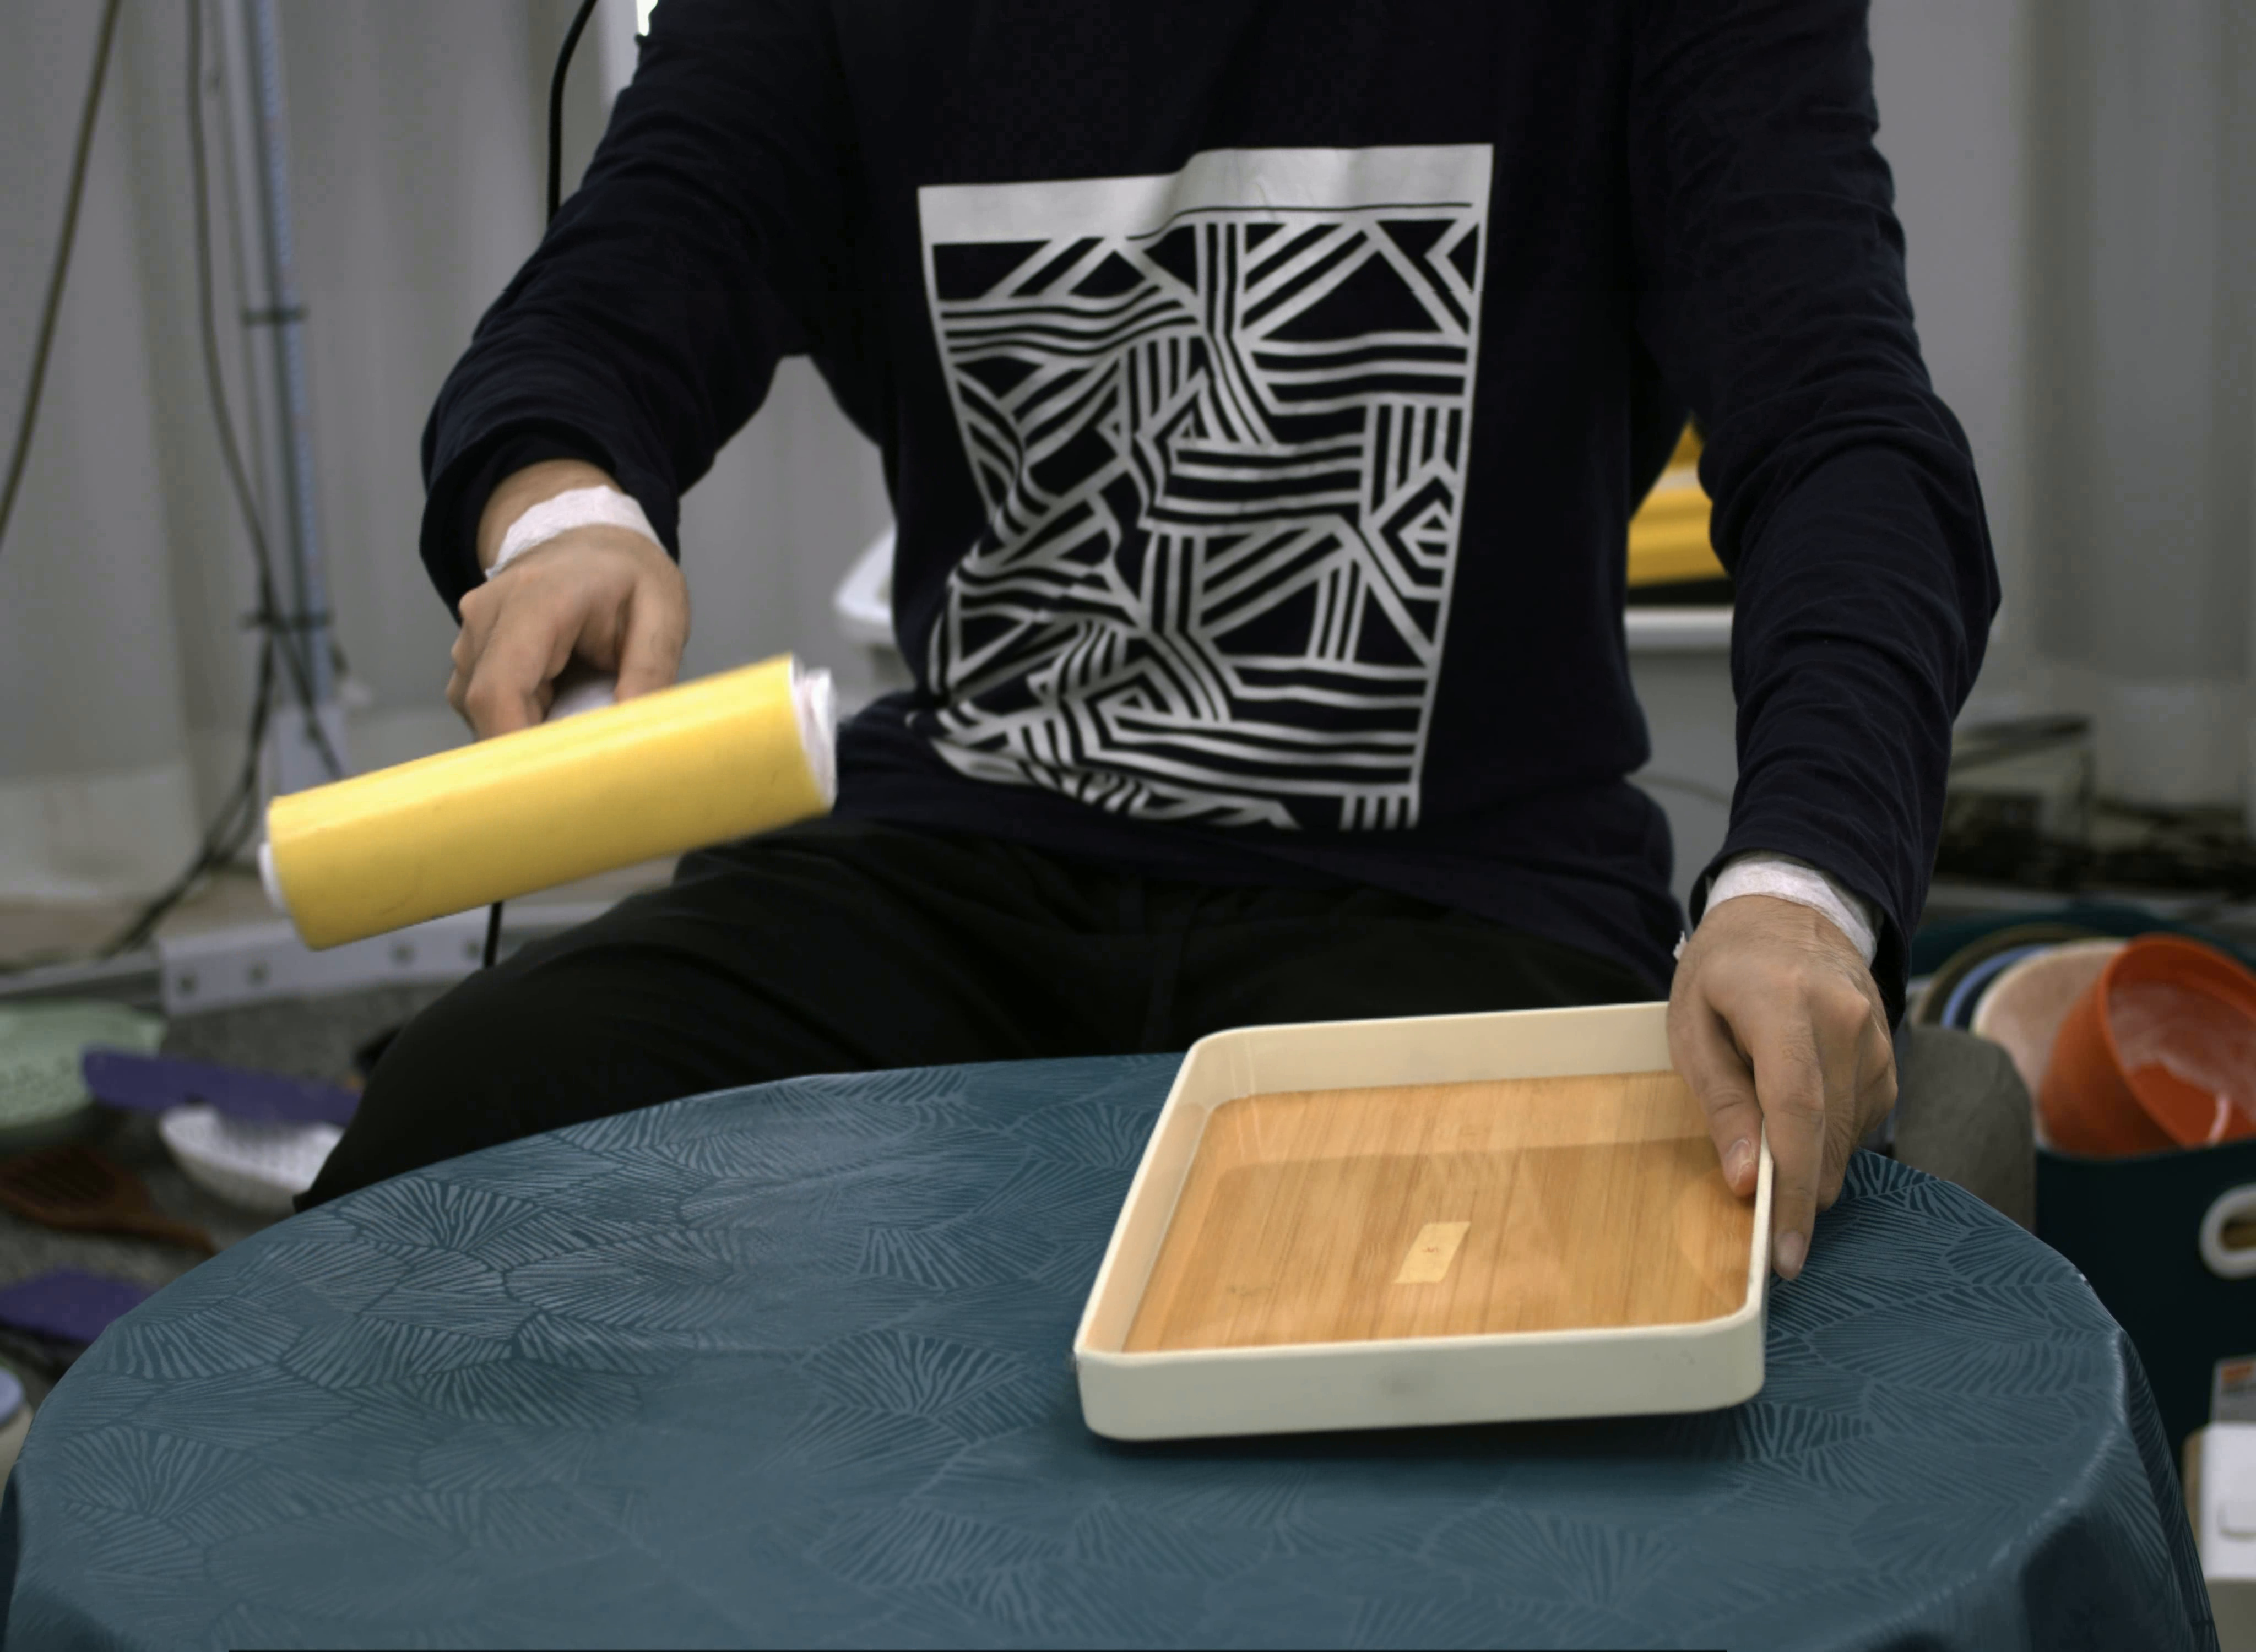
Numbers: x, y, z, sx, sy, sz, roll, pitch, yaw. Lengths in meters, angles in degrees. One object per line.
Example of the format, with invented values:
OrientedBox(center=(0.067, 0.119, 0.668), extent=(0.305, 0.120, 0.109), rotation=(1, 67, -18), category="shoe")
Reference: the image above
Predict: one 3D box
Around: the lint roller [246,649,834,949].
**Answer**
OrientedBox(center=(-0.175, -0.031, 1.675), extent=(0.174, 0.051, 0.194), rotation=(-13, 24, 3), category="lint roller")

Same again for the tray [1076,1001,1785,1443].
OrientedBox(center=(0.097, 0.113, 1.617), extent=(0.191, 0.027, 0.302), rotation=(-4, 15, 9), category="tray")
